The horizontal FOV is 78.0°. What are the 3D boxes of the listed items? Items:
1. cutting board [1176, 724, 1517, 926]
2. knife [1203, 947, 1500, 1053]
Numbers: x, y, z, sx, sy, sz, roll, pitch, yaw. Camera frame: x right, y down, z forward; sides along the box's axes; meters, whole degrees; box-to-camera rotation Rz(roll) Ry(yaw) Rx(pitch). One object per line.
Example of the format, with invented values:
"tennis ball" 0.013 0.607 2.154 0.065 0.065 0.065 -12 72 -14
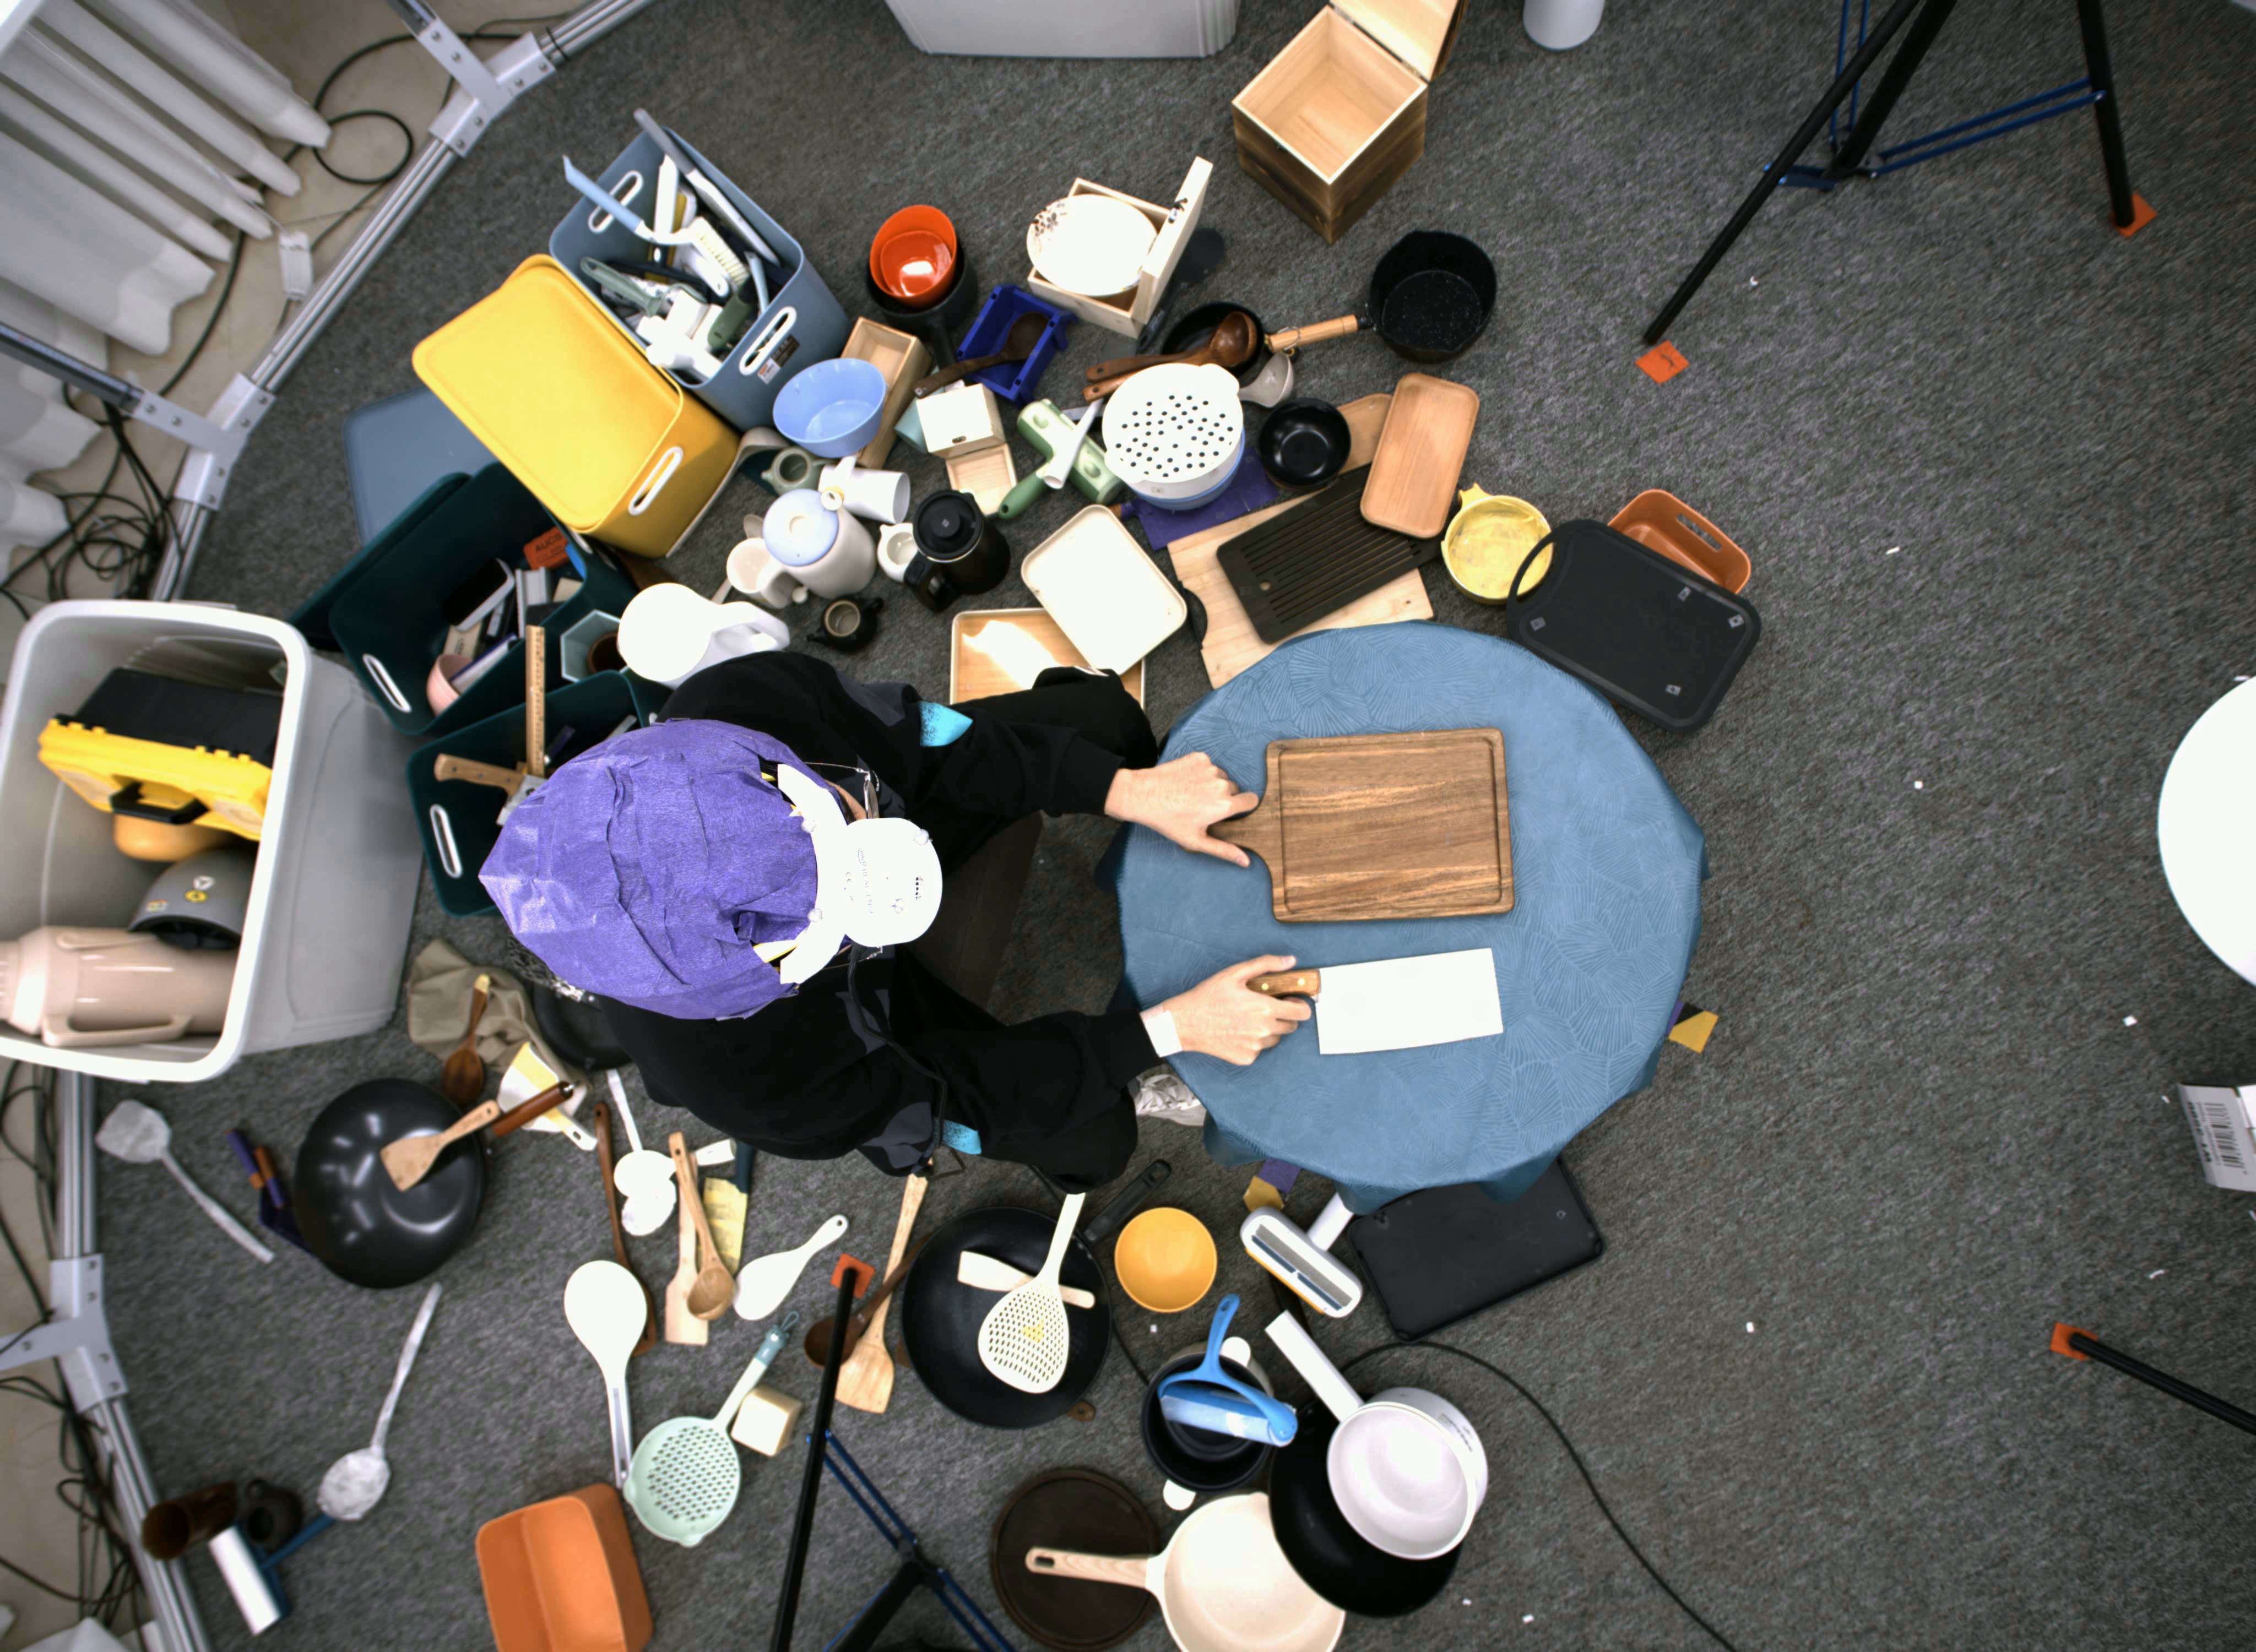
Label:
"cutting board" 0.226 0.001 1.462 0.354 0.023 0.200 -4 86 10
"knife" 0.234 0.187 1.452 0.307 0.021 0.092 -8 87 8
